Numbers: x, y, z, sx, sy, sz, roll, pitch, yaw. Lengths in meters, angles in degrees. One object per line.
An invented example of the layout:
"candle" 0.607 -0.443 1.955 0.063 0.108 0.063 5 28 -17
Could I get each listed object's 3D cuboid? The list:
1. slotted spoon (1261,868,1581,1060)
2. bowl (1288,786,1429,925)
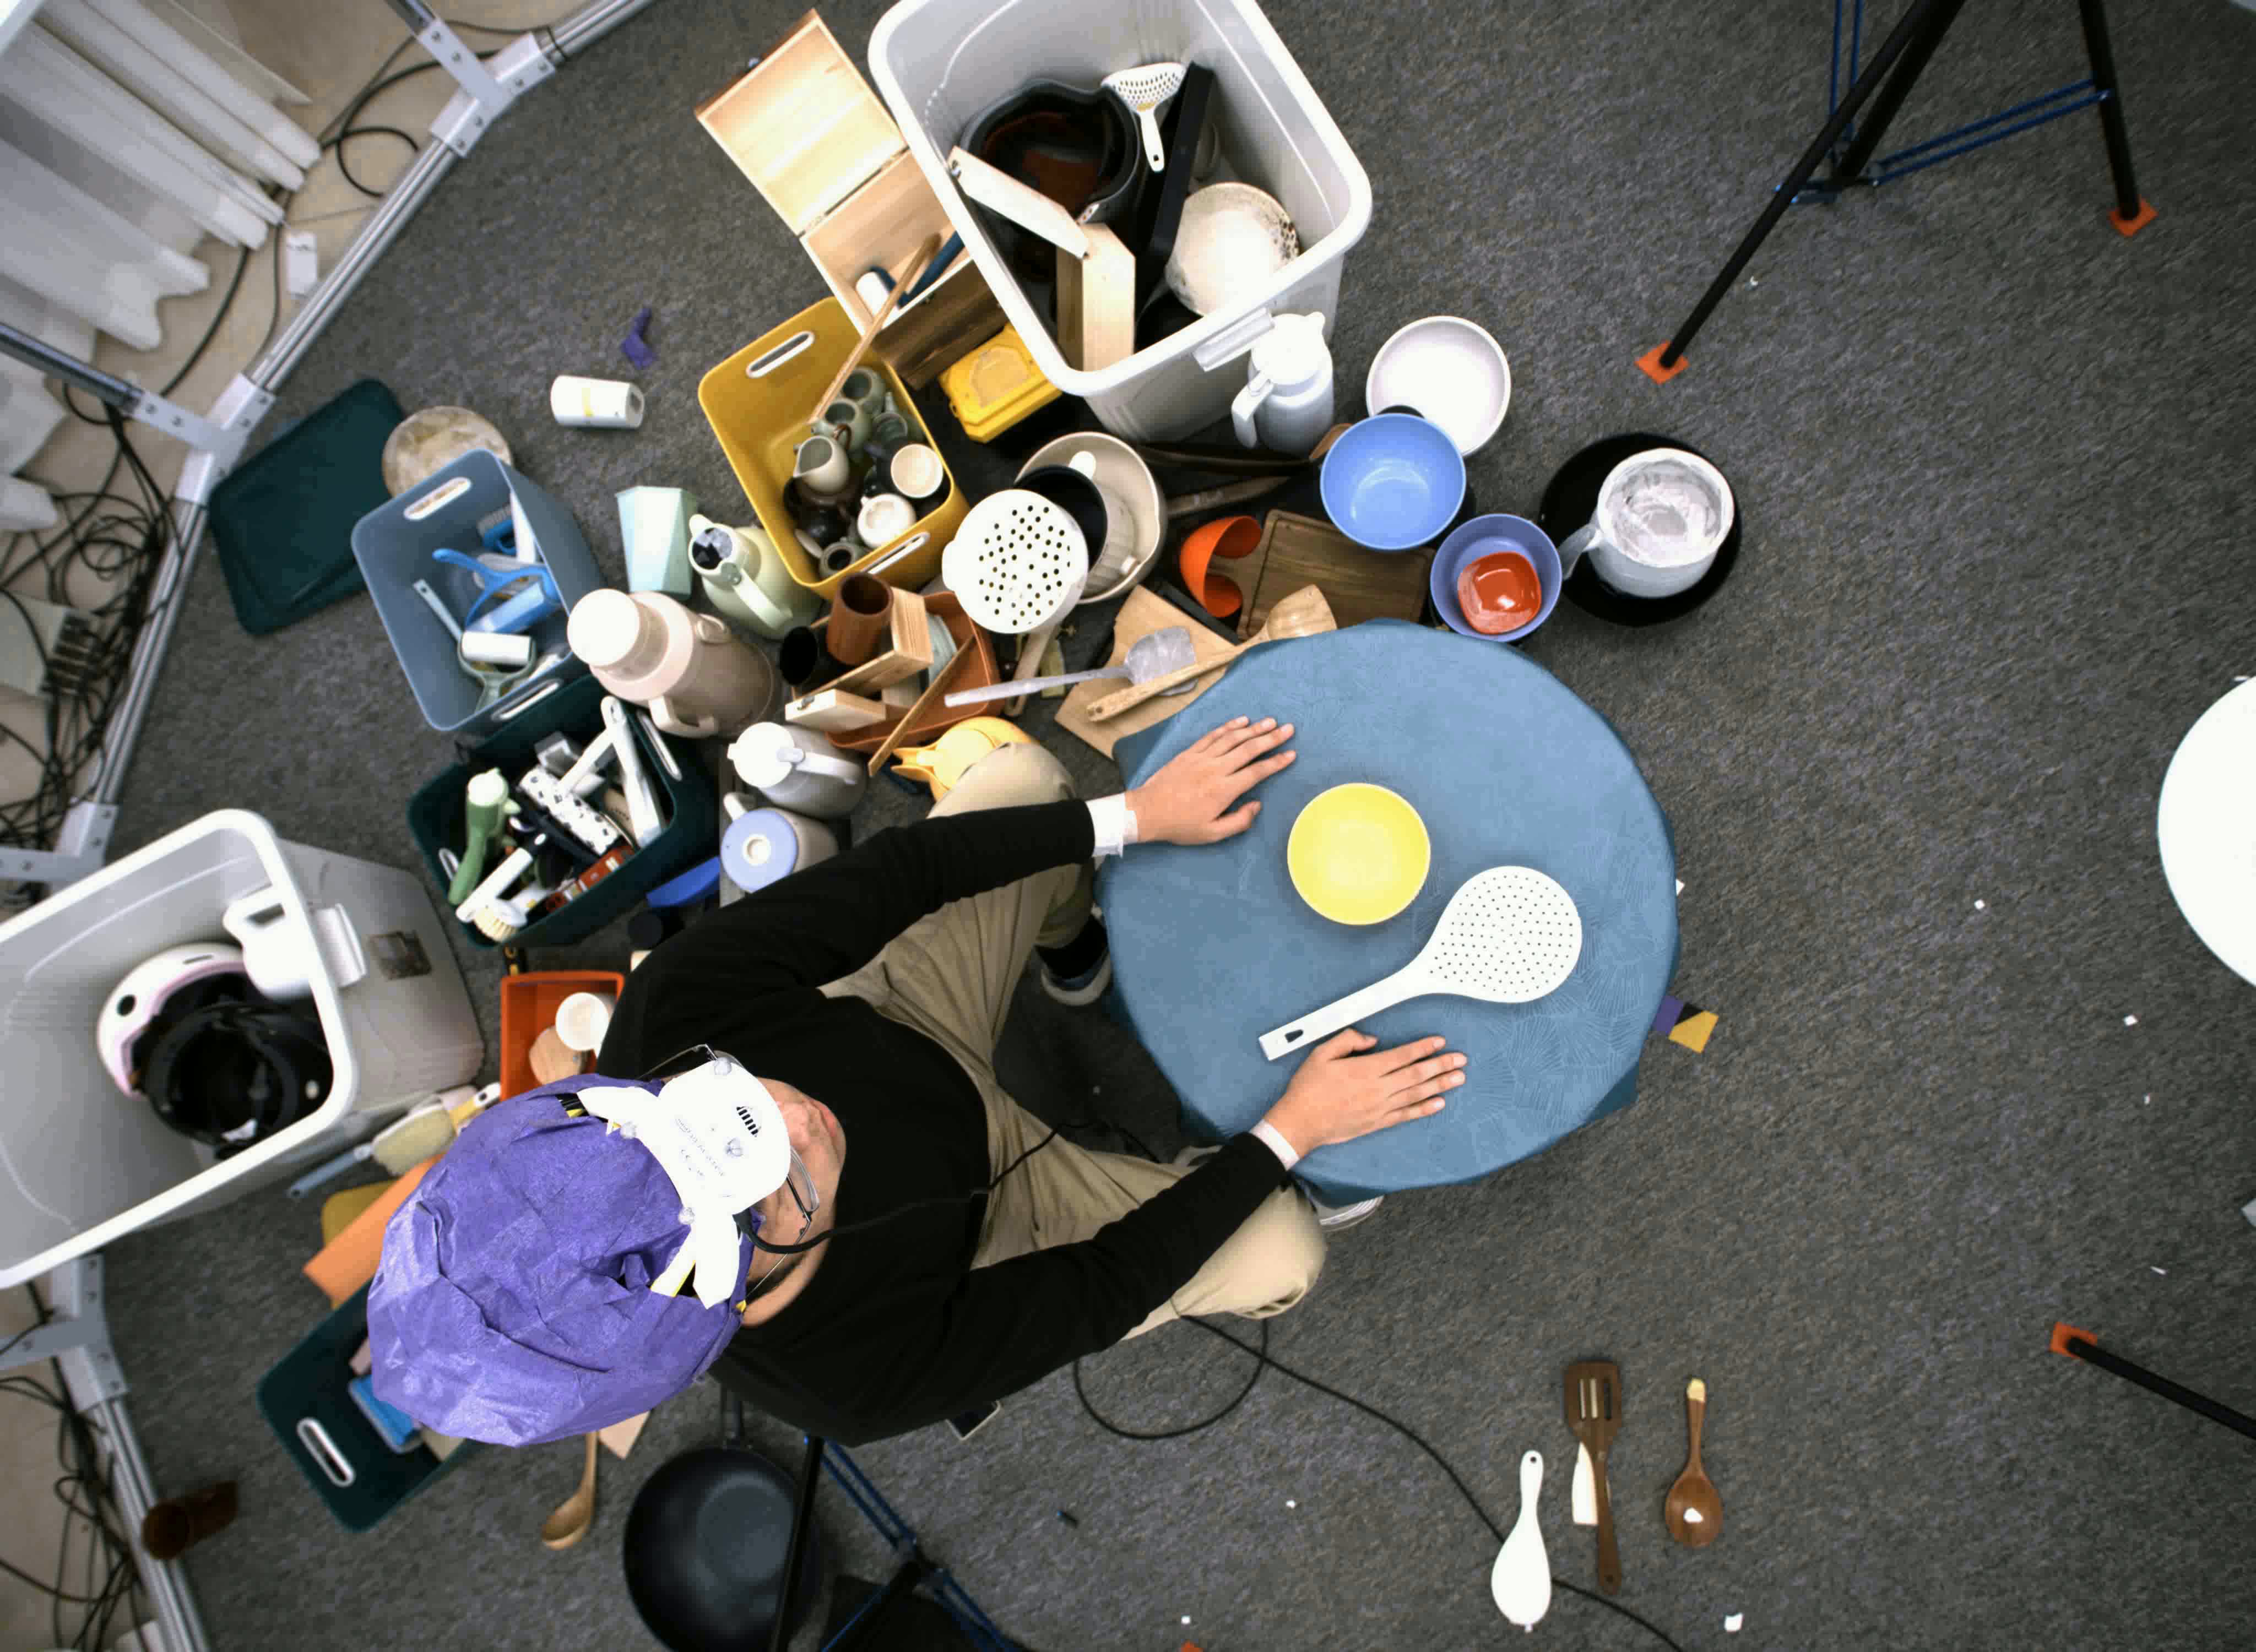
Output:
"slotted spoon" 0.297 0.158 1.427 0.352 0.046 0.135 -27 82 9
"bowl" 0.240 0.032 1.439 0.146 0.060 0.144 -1 84 10
